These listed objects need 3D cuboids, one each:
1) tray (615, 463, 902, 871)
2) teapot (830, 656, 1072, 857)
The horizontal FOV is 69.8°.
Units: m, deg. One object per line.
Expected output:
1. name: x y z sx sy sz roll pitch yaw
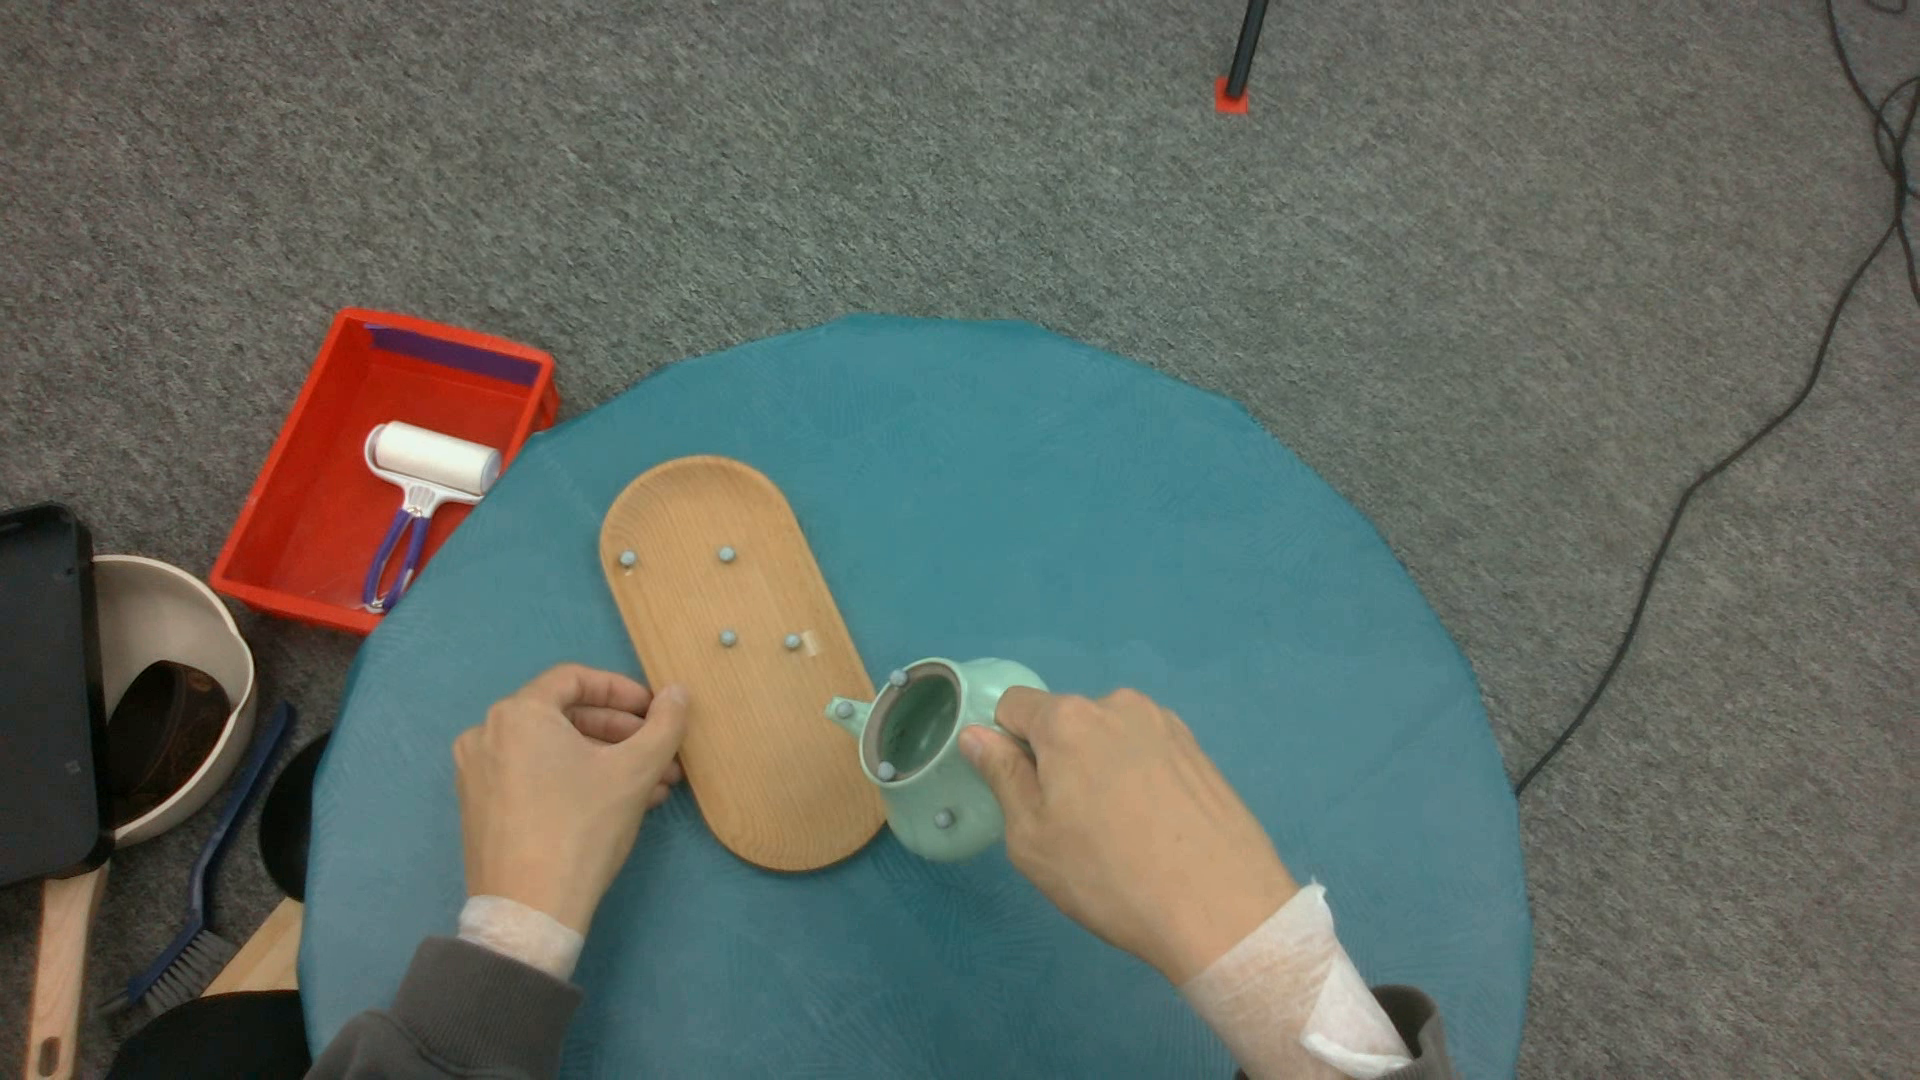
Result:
1. tray: -0.103 0.061 0.713 0.102 0.020 0.231 -23 71 -15
2. teapot: 0.003 0.092 0.620 0.061 0.136 0.096 38 64 -33
